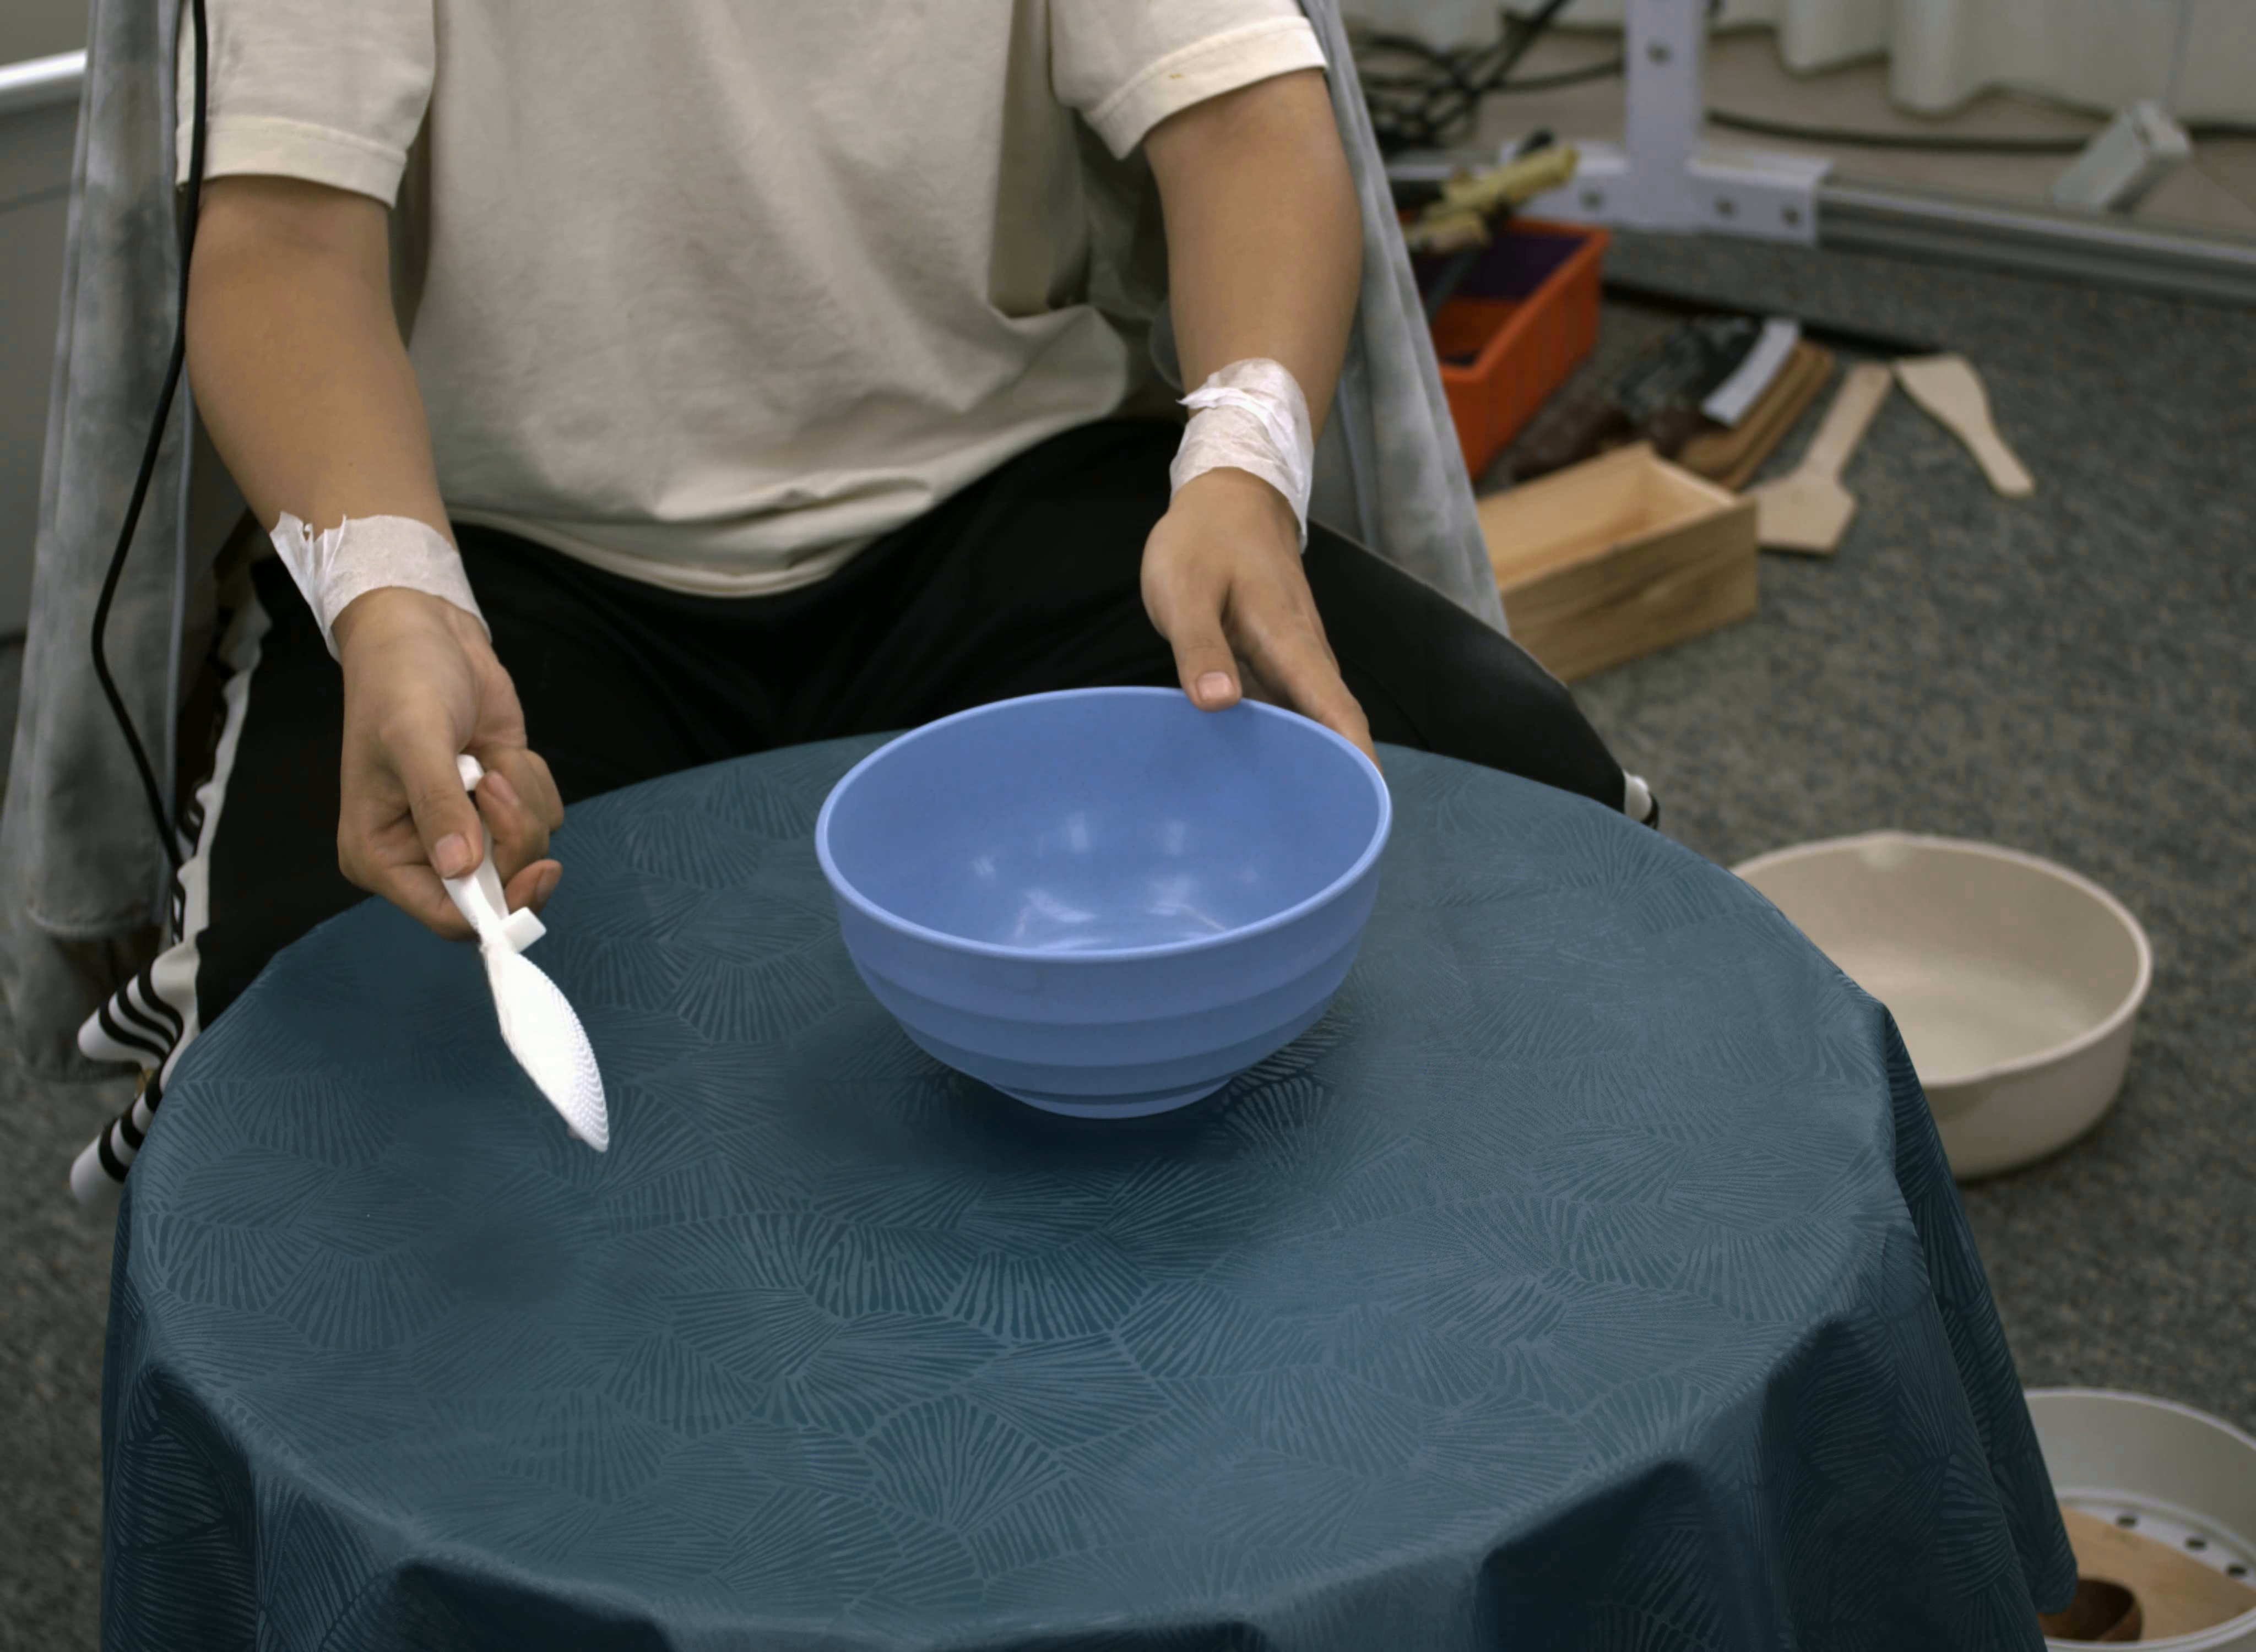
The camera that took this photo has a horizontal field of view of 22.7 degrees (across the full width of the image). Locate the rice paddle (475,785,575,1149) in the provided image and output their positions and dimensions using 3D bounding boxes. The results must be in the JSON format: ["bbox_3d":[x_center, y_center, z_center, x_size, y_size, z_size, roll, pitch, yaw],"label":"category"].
[{"bbox_3d":[-0.201,0.044,1.852,0.029,0.068,0.208,-22,26,4],"label":"rice paddle"}]

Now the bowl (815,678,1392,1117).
[{"bbox_3d":[-0.006,0.036,1.922,0.195,0.094,0.199,-3,29,2],"label":"bowl"}]
